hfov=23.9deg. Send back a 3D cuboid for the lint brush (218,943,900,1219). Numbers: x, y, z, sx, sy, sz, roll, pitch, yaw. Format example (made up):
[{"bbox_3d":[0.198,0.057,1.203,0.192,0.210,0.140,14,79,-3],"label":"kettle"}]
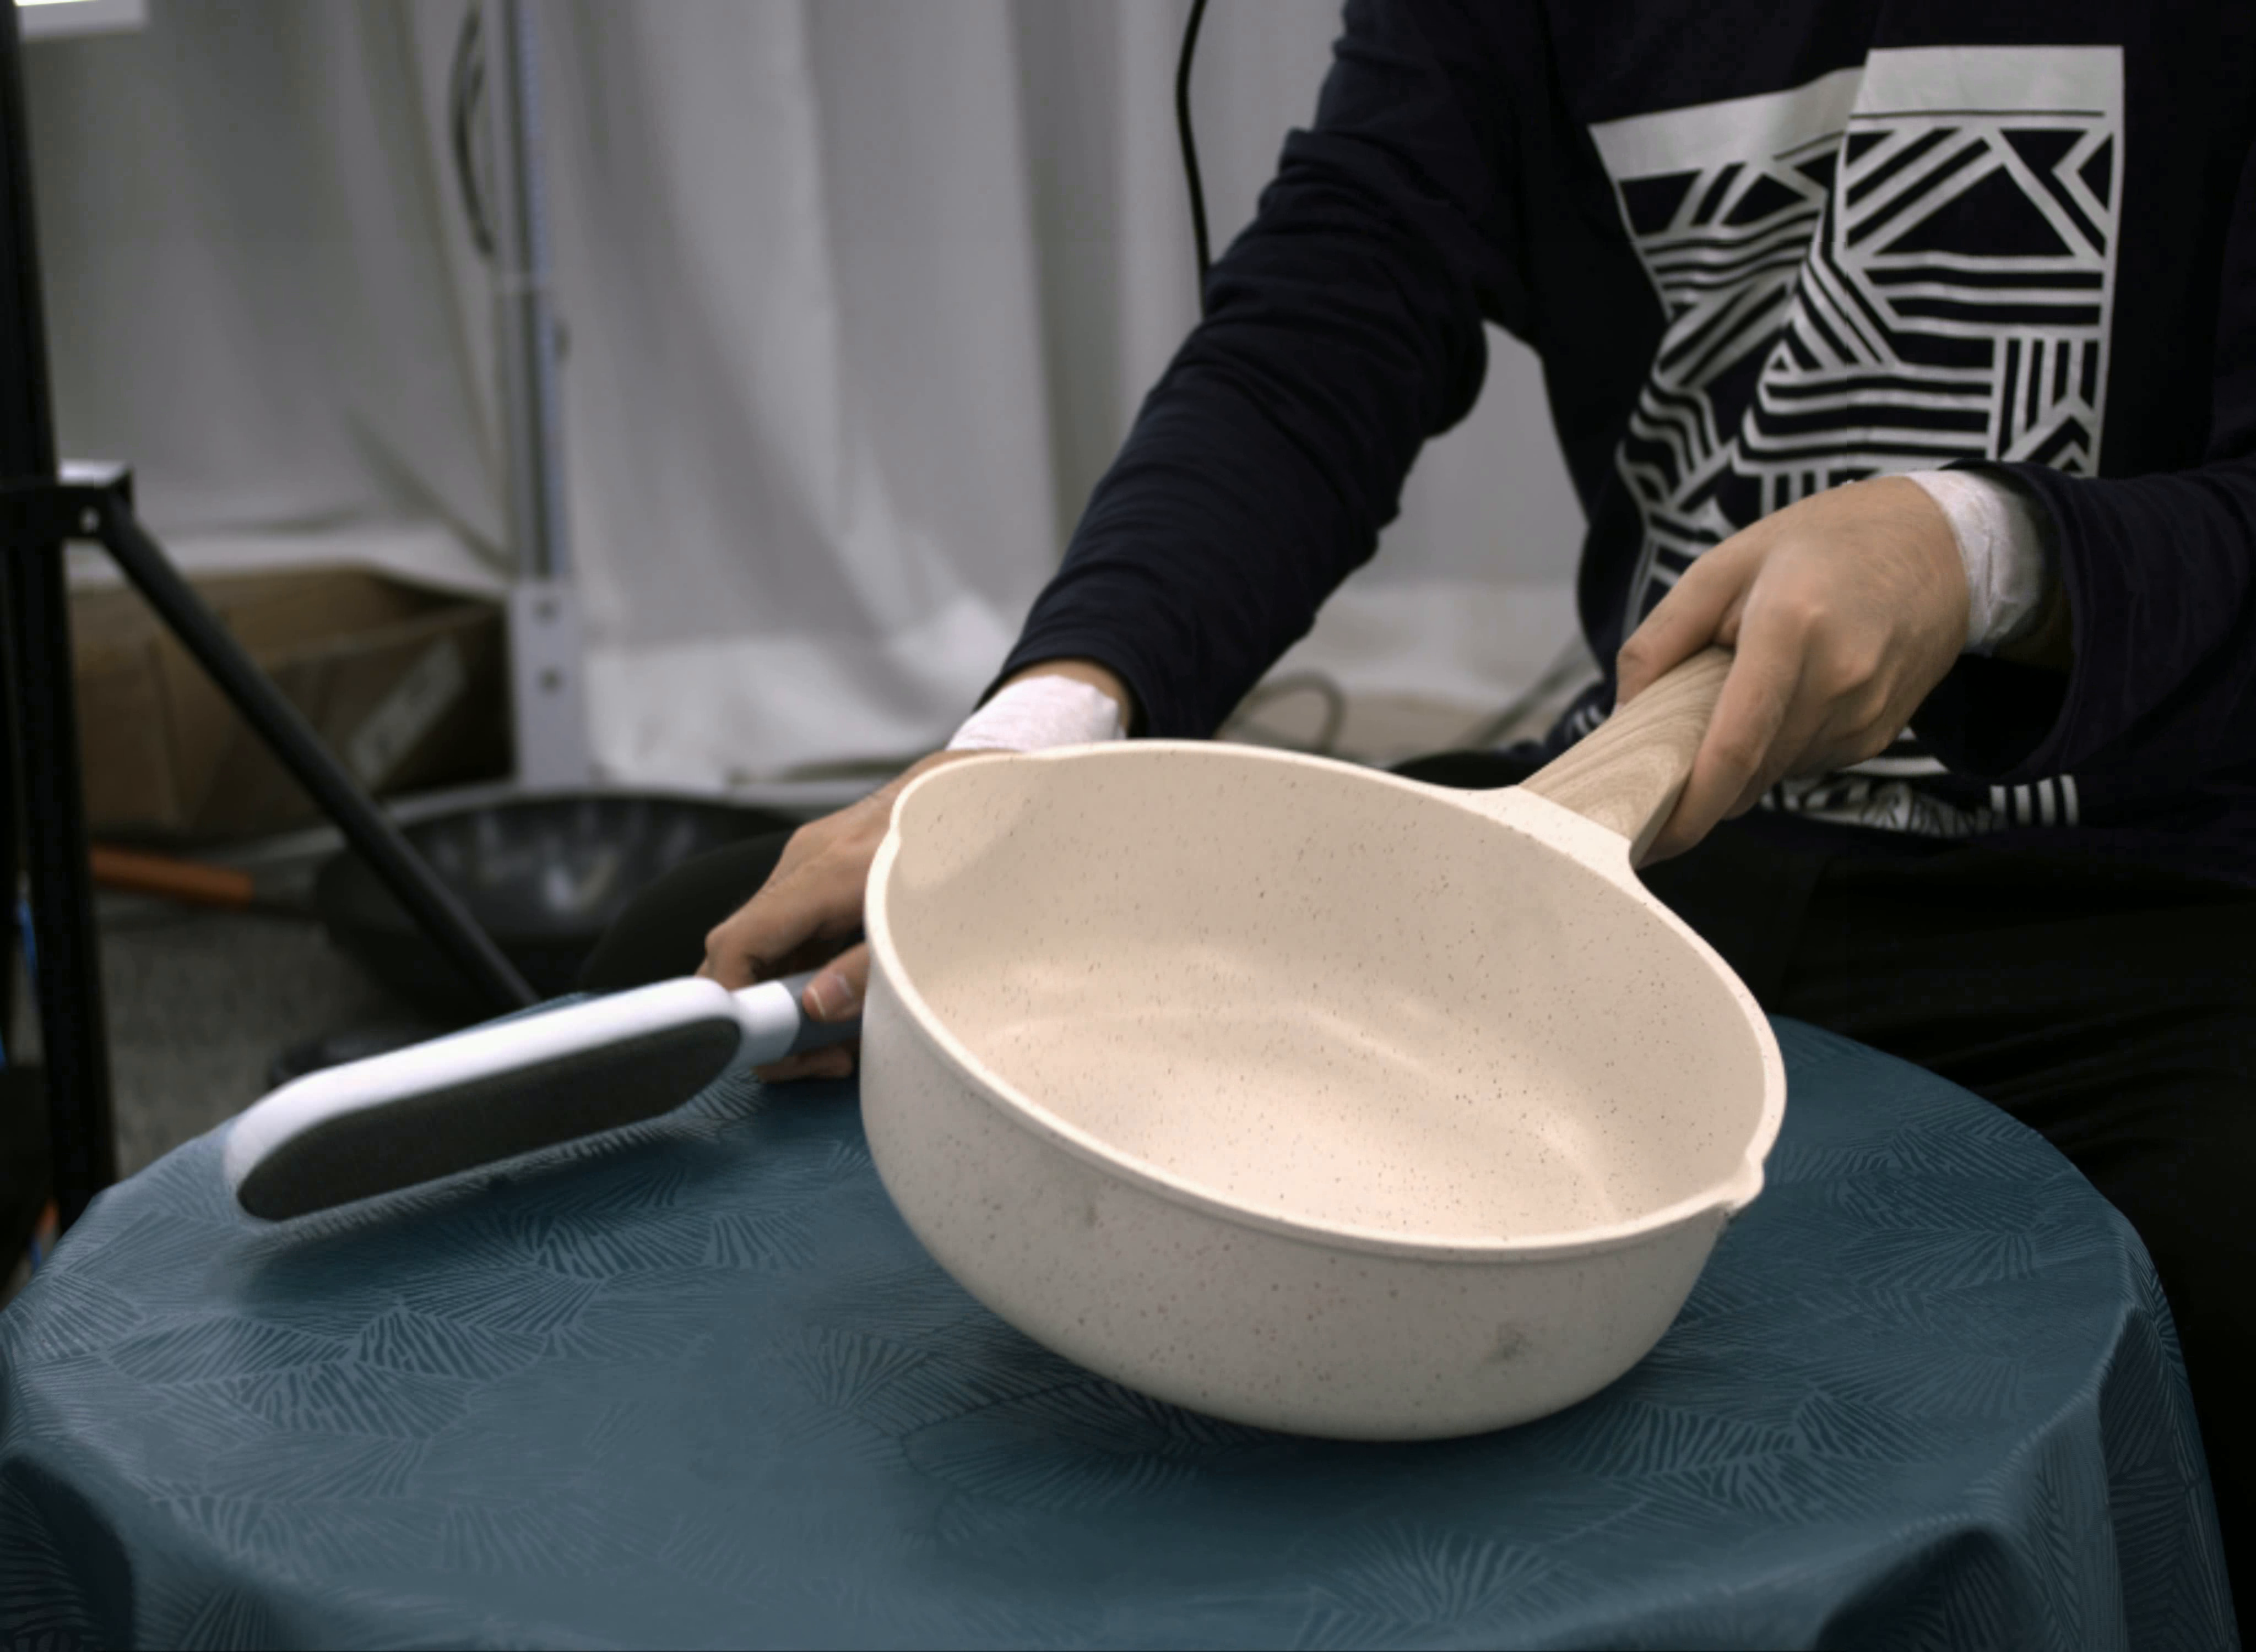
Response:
[{"bbox_3d":[-0.142,0.067,1.619,0.302,0.060,0.021,-15,59,-38],"label":"lint brush"}]

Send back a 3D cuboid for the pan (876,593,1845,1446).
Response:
[{"bbox_3d":[0.098,0.042,1.491,0.268,0.102,0.427,23,29,24],"label":"pan"}]
